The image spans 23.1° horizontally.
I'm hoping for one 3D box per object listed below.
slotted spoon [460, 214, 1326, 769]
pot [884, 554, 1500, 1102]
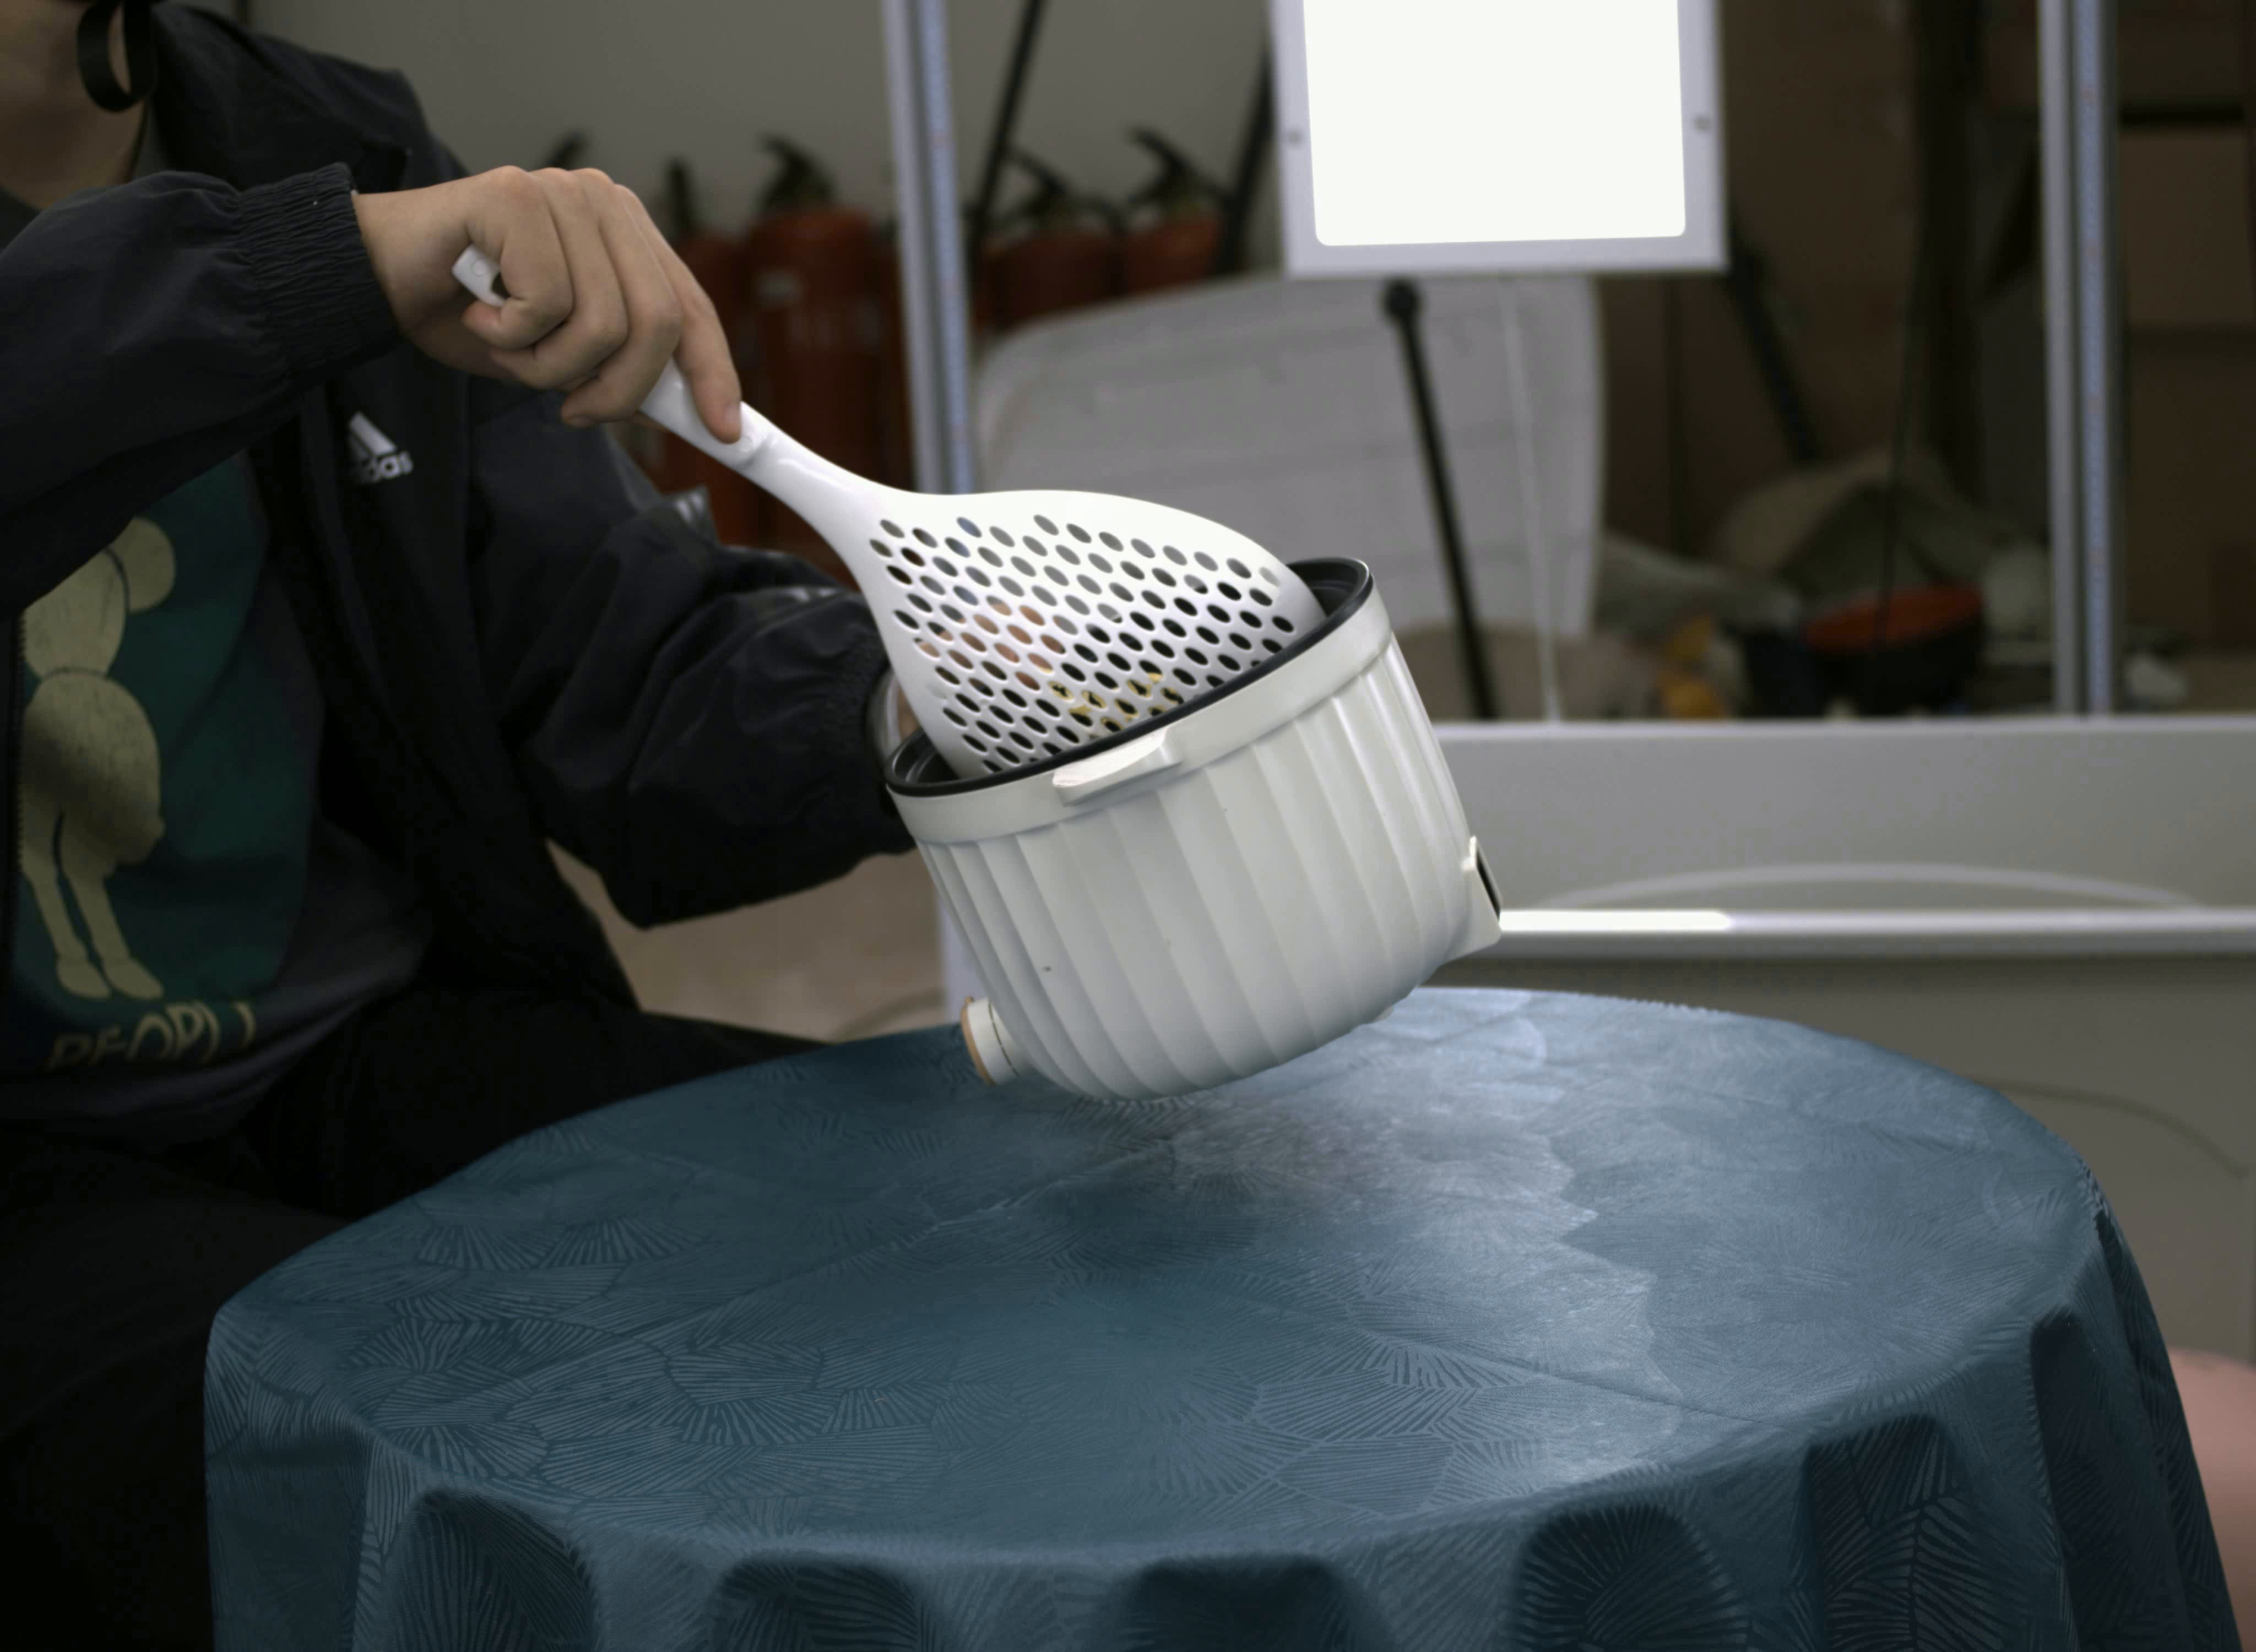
[{"bbox_3d":[-0.084,-0.102,1.890,0.346,0.138,0.050,34,11,-6],"label":"slotted spoon"},{"bbox_3d":[0.019,0.008,1.889,0.192,0.142,0.239,-19,13,10],"label":"pot"}]
